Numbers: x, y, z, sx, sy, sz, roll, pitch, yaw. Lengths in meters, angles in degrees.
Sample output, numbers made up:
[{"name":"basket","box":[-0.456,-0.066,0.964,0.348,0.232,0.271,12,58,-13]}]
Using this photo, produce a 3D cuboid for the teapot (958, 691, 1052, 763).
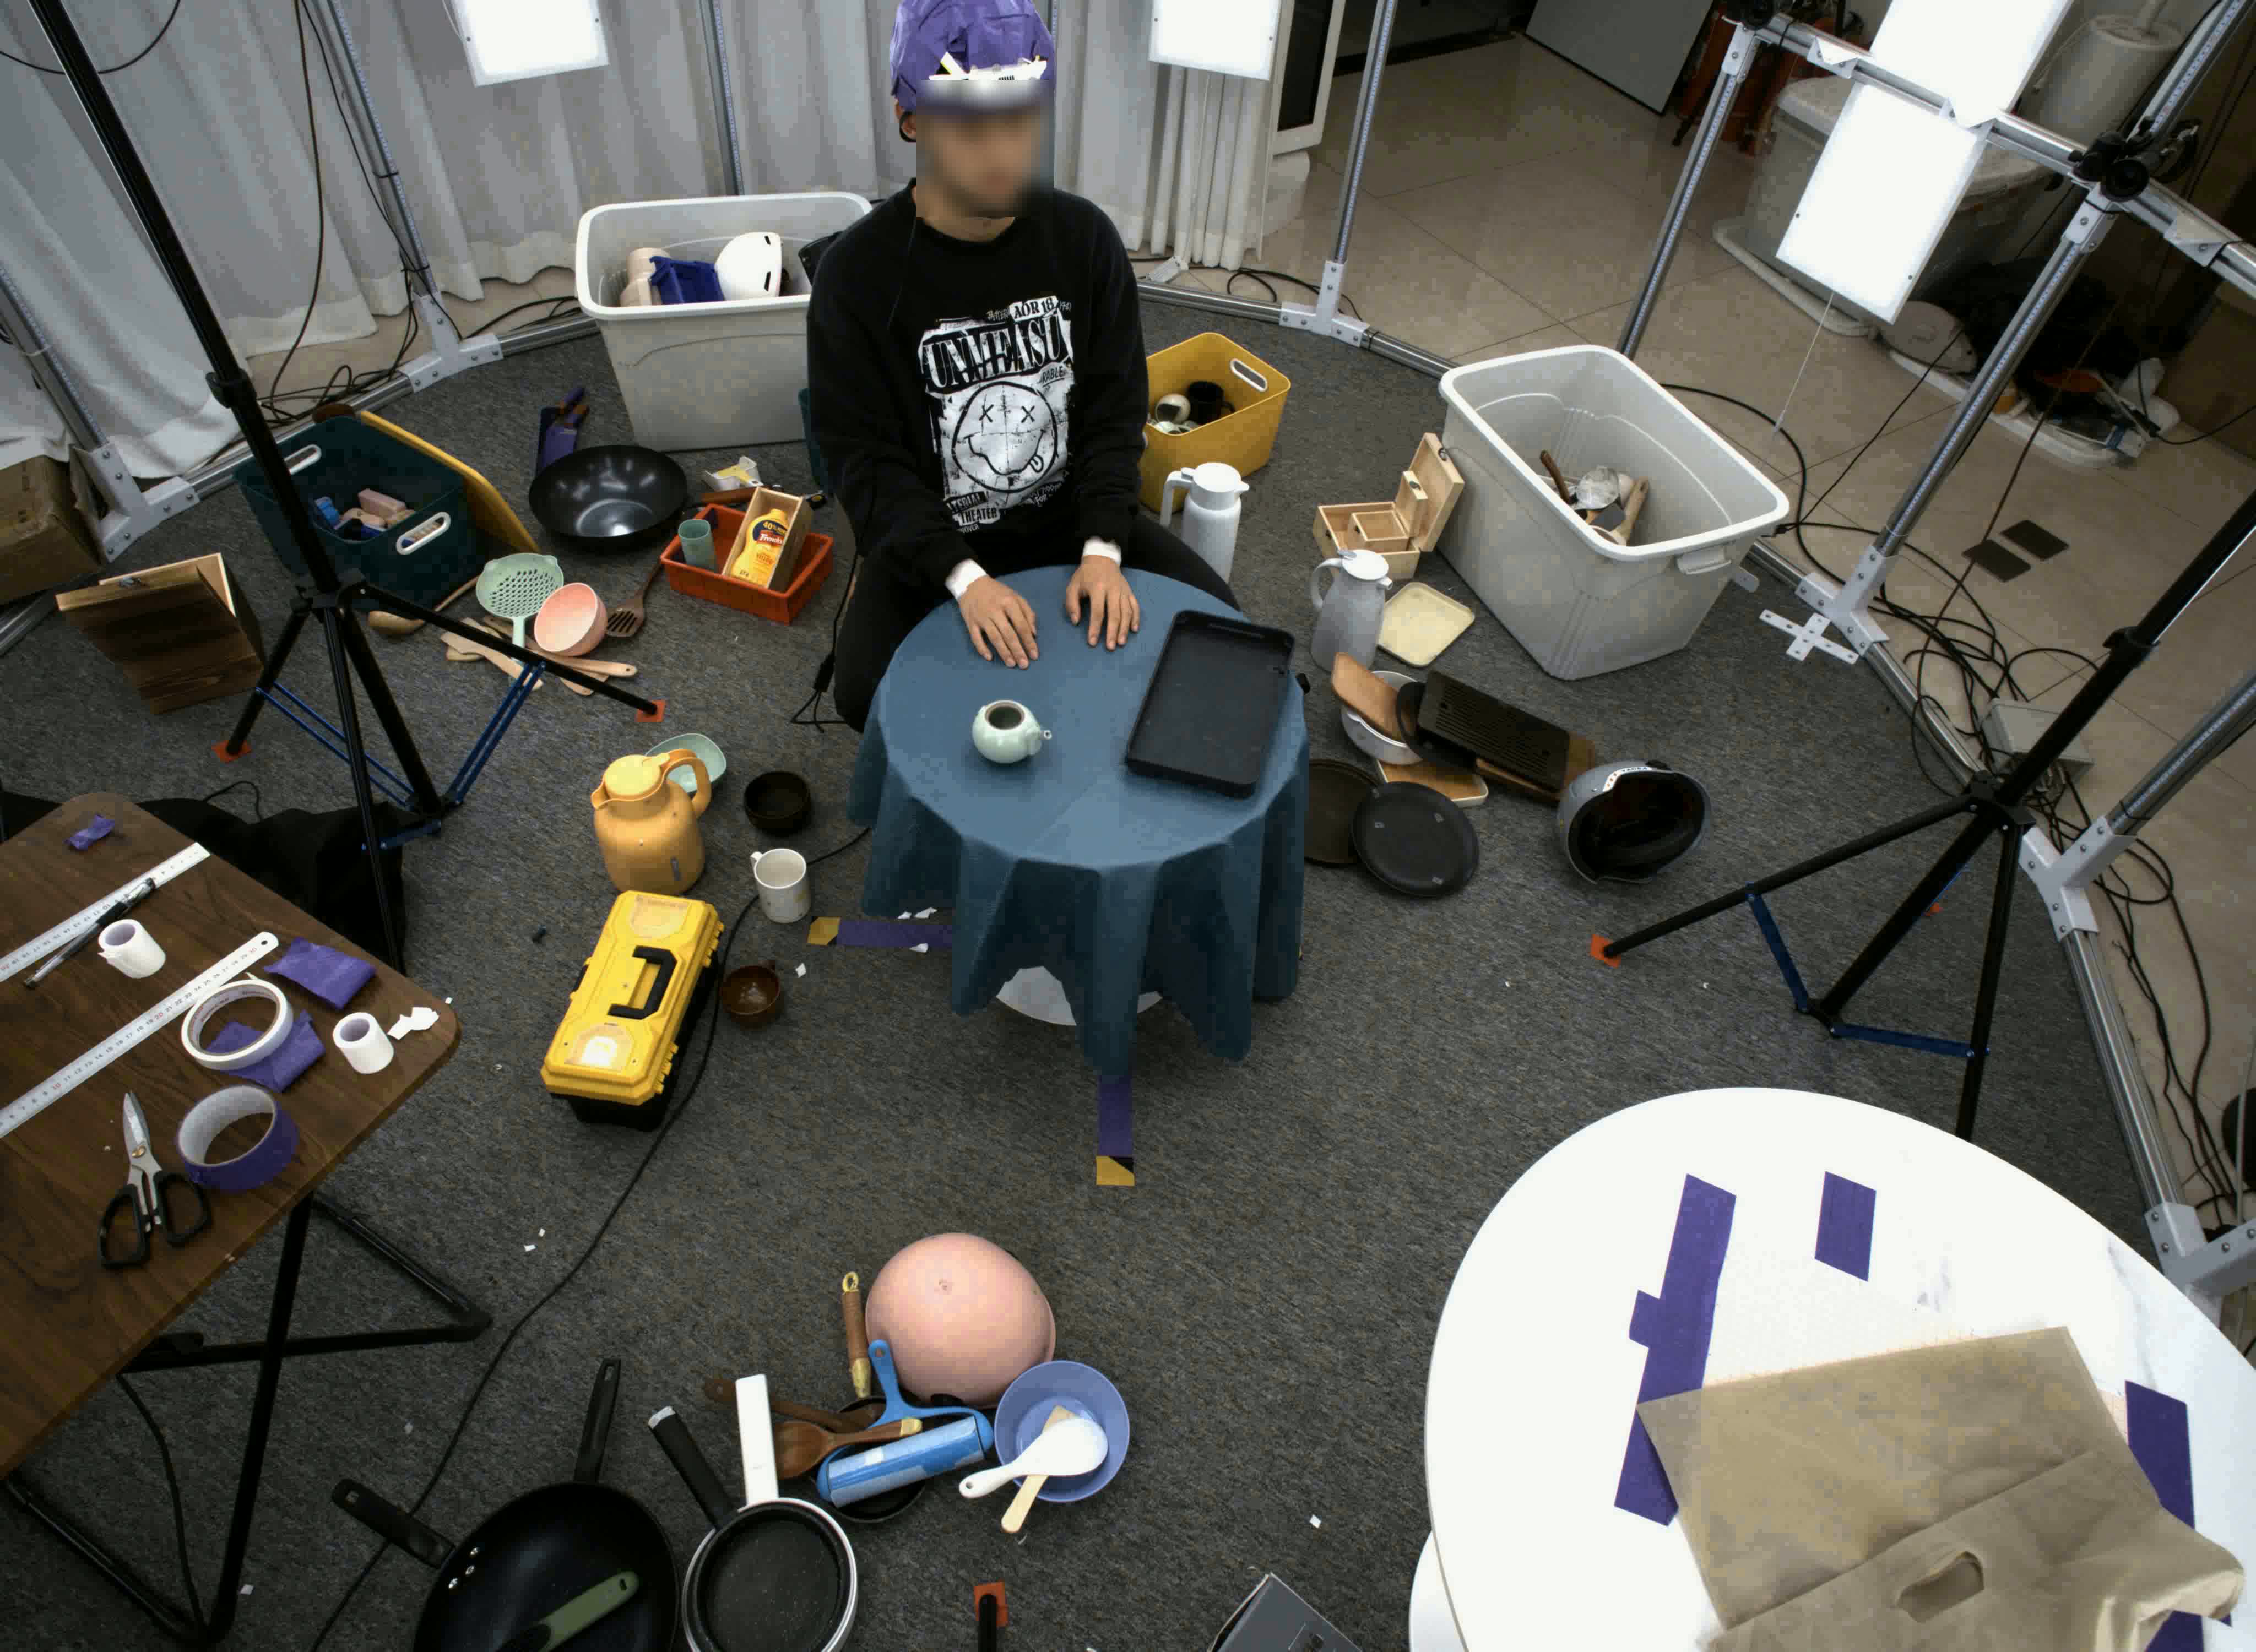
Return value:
[{"name":"teapot","box":[-0.165,-0.127,1.723,0.145,0.073,0.089,28,53,17]}]

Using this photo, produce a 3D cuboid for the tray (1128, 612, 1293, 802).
[{"name":"tray","box":[0.119,-0.174,1.804,0.184,0.036,0.325,12,49,6]}]
